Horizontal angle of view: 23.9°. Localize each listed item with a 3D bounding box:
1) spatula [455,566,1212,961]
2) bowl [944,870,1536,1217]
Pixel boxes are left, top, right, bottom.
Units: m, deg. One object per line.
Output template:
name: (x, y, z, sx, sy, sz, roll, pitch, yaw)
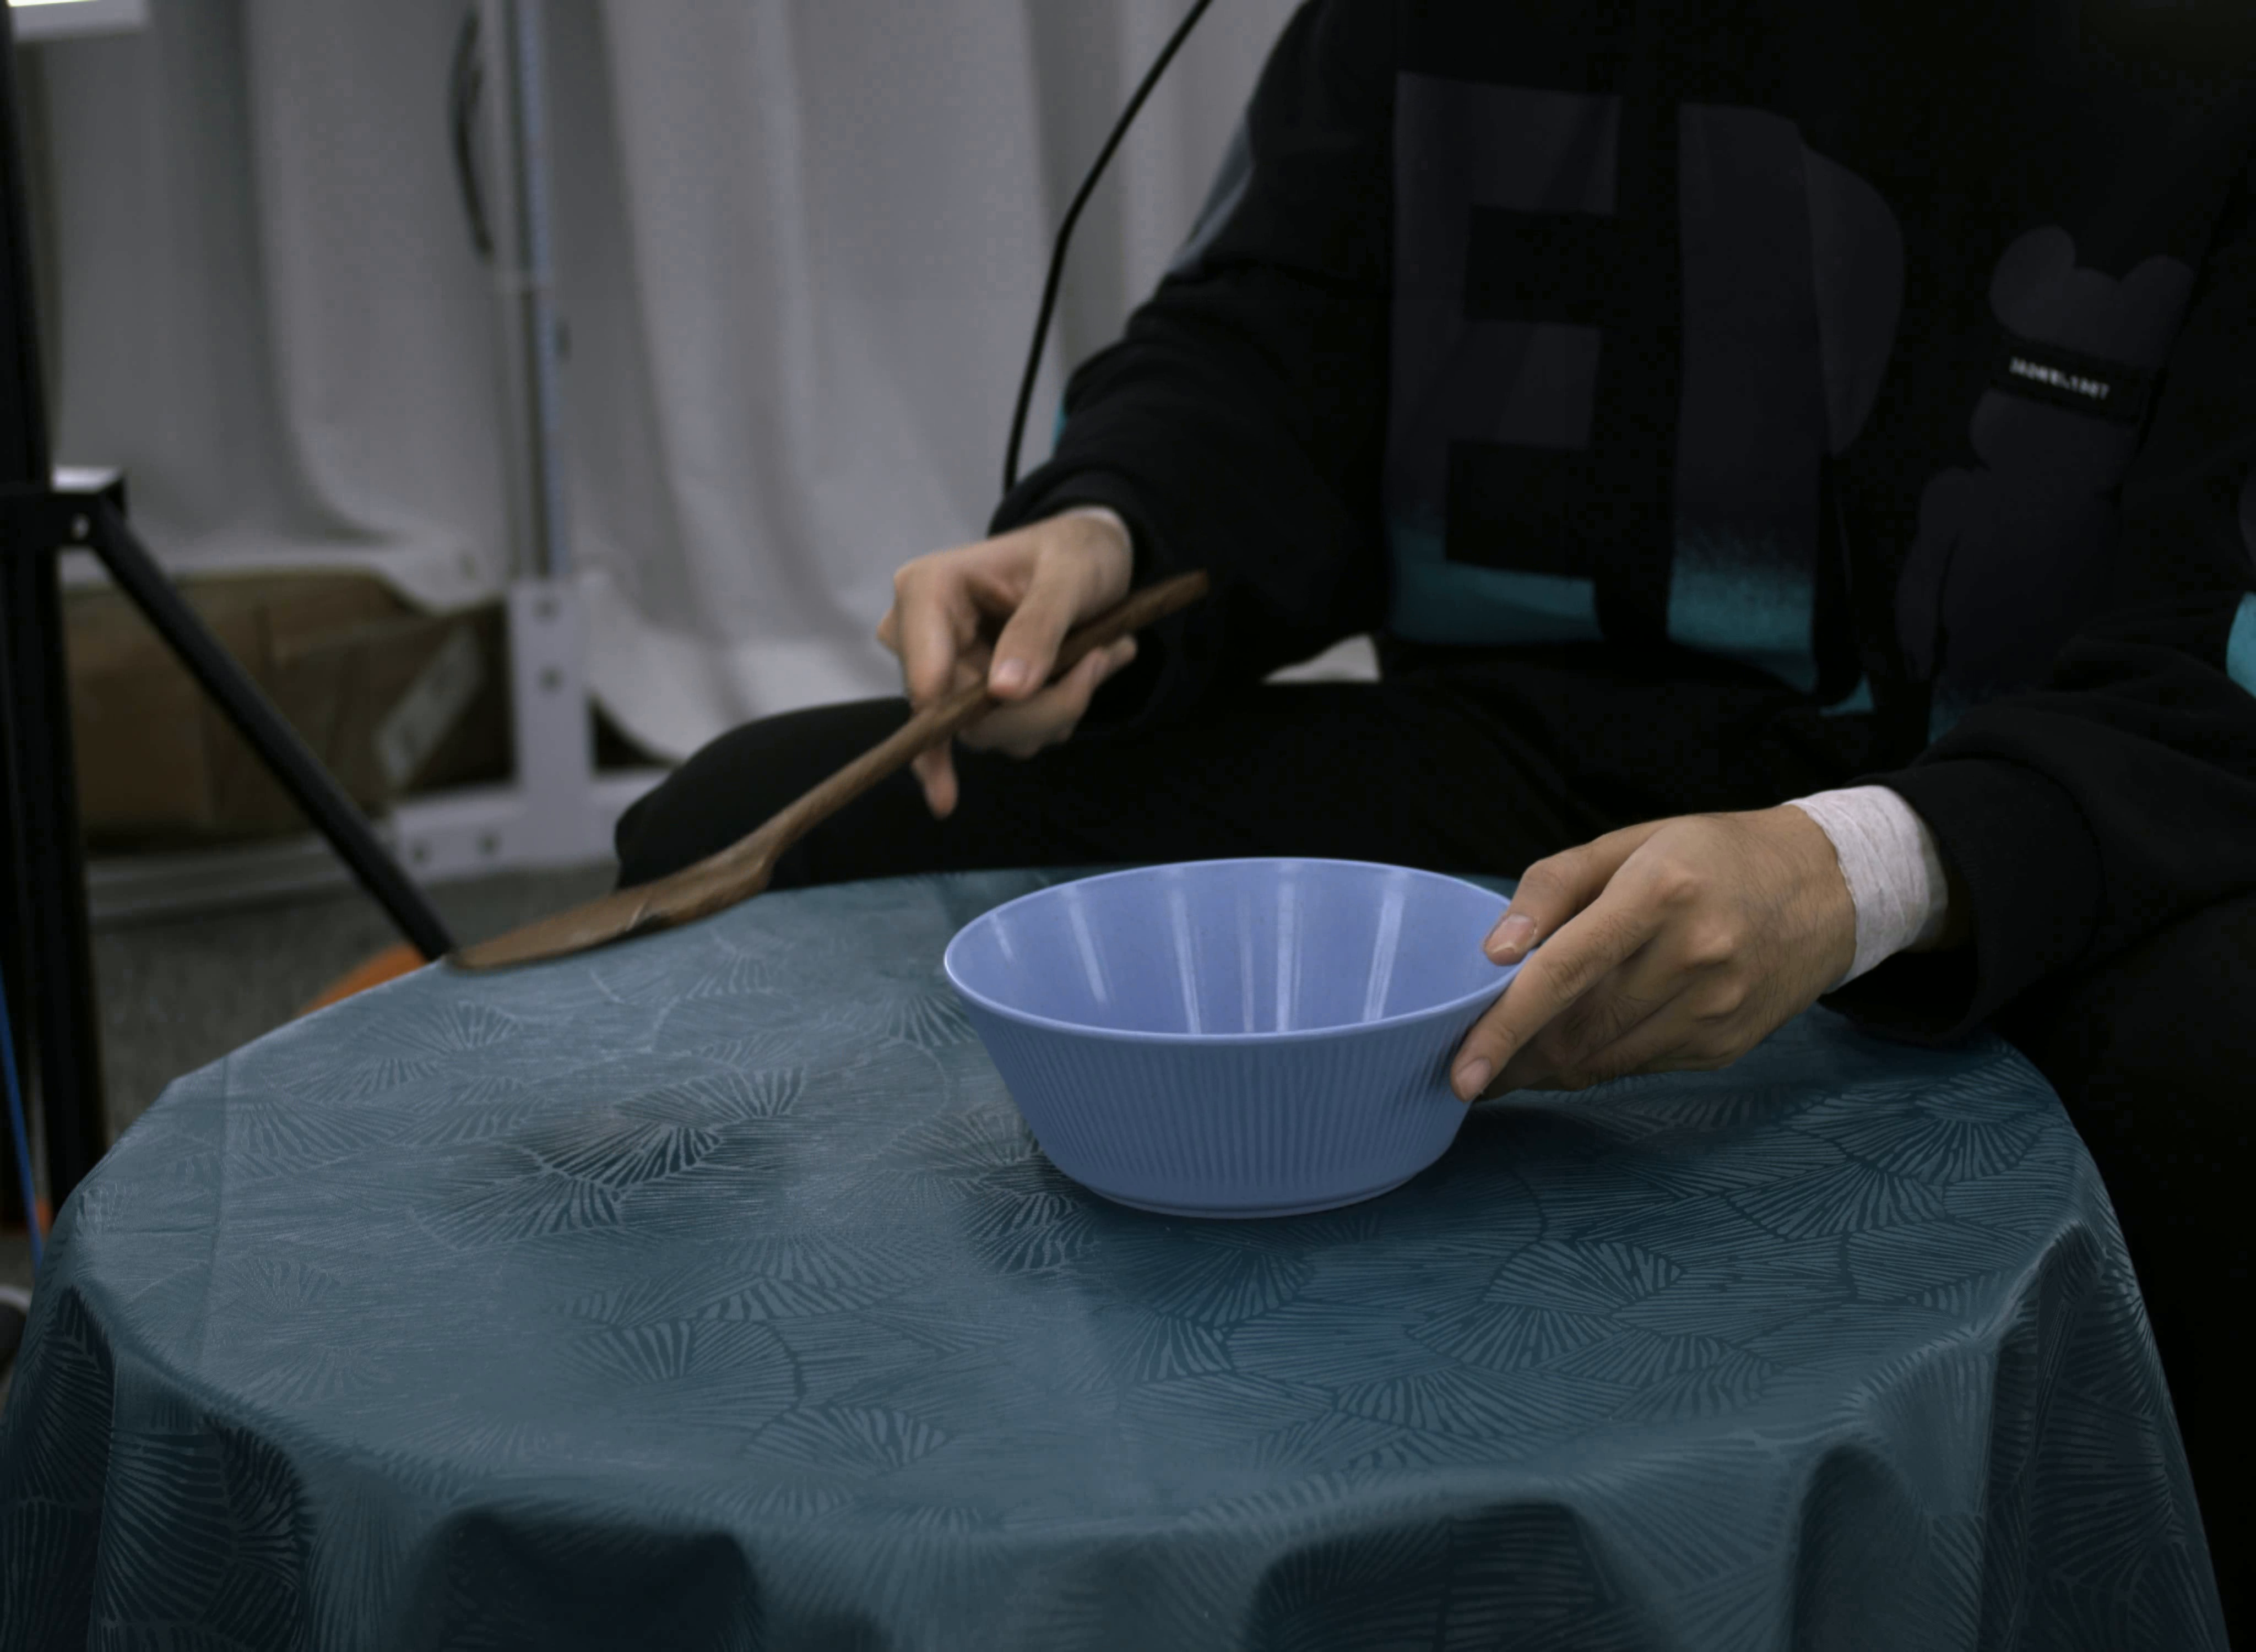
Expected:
spatula: (-0.075, -0.026, 1.722, 0.098, 0.016, 0.379, -12, 13, 36)
bowl: (0.034, 0.066, 1.571, 0.175, 0.070, 0.177, -2, 15, -1)
